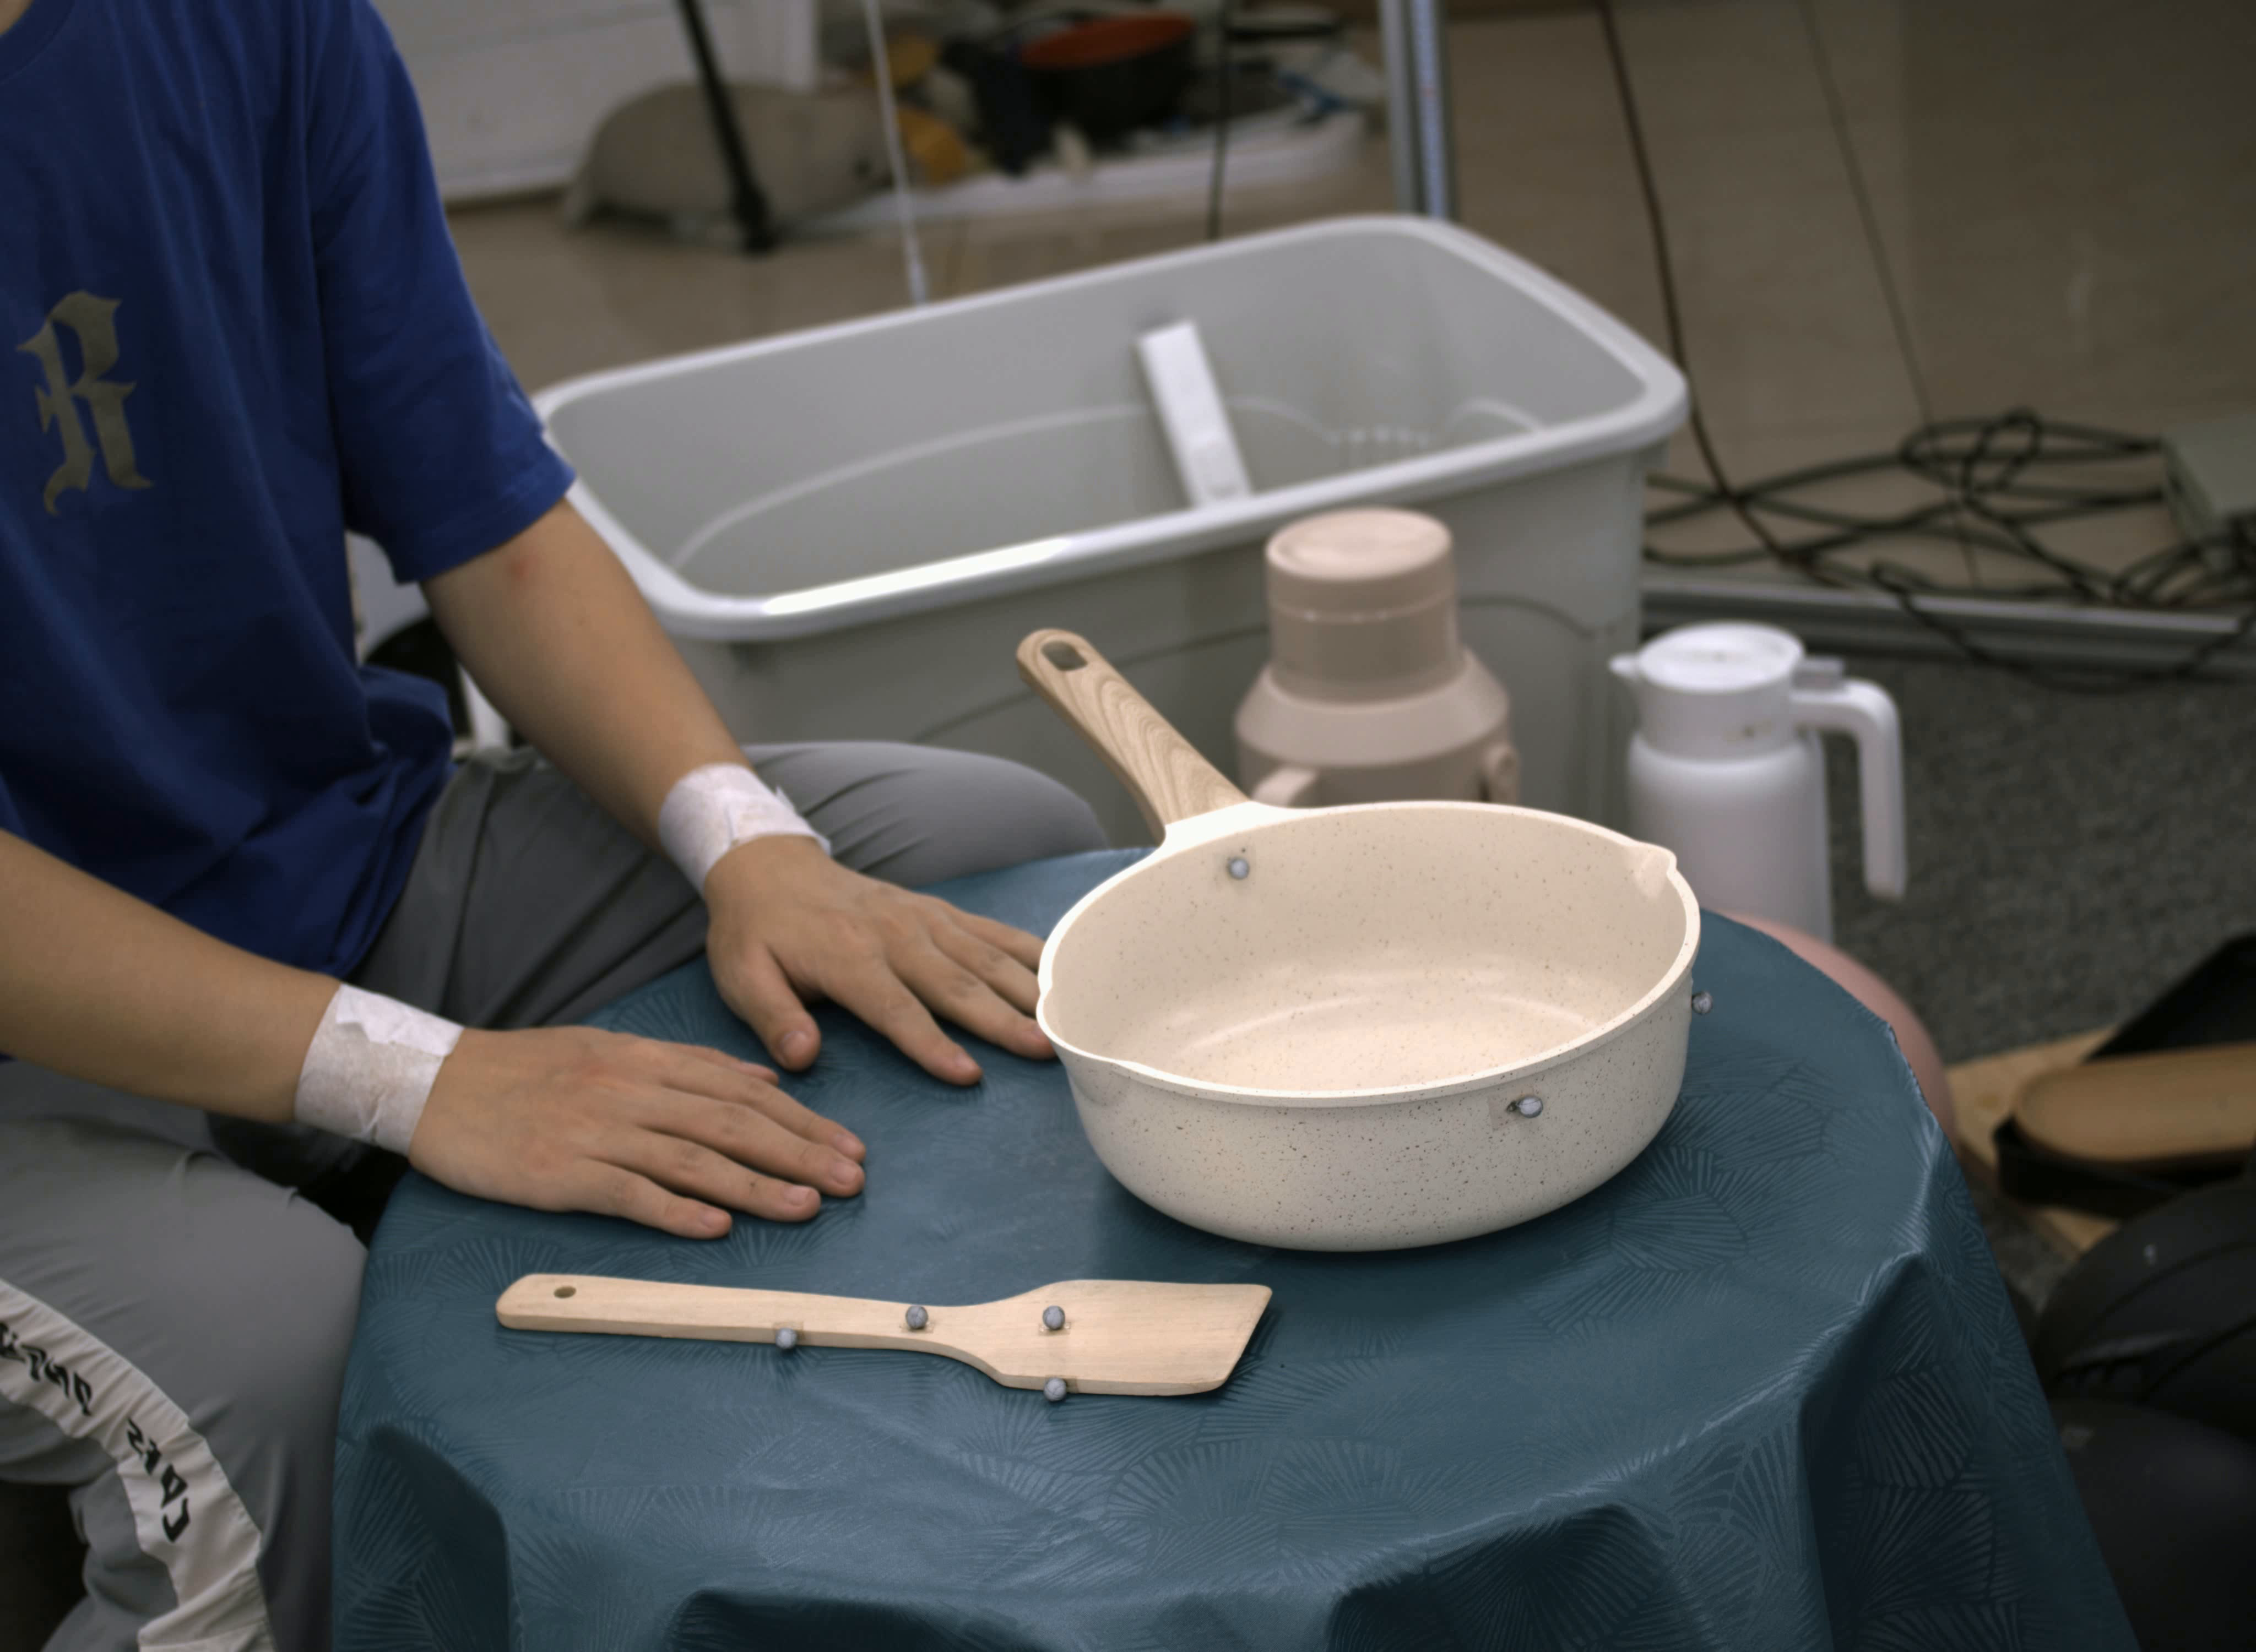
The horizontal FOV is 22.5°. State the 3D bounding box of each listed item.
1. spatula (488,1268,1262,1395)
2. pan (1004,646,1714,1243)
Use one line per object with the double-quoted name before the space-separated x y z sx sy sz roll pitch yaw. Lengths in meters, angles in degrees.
"spatula" -0.098 0.180 2.072 0.292 0.011 0.071 2 27 17
"pan" 0.060 0.040 2.226 0.262 0.103 0.430 -18 27 -20
